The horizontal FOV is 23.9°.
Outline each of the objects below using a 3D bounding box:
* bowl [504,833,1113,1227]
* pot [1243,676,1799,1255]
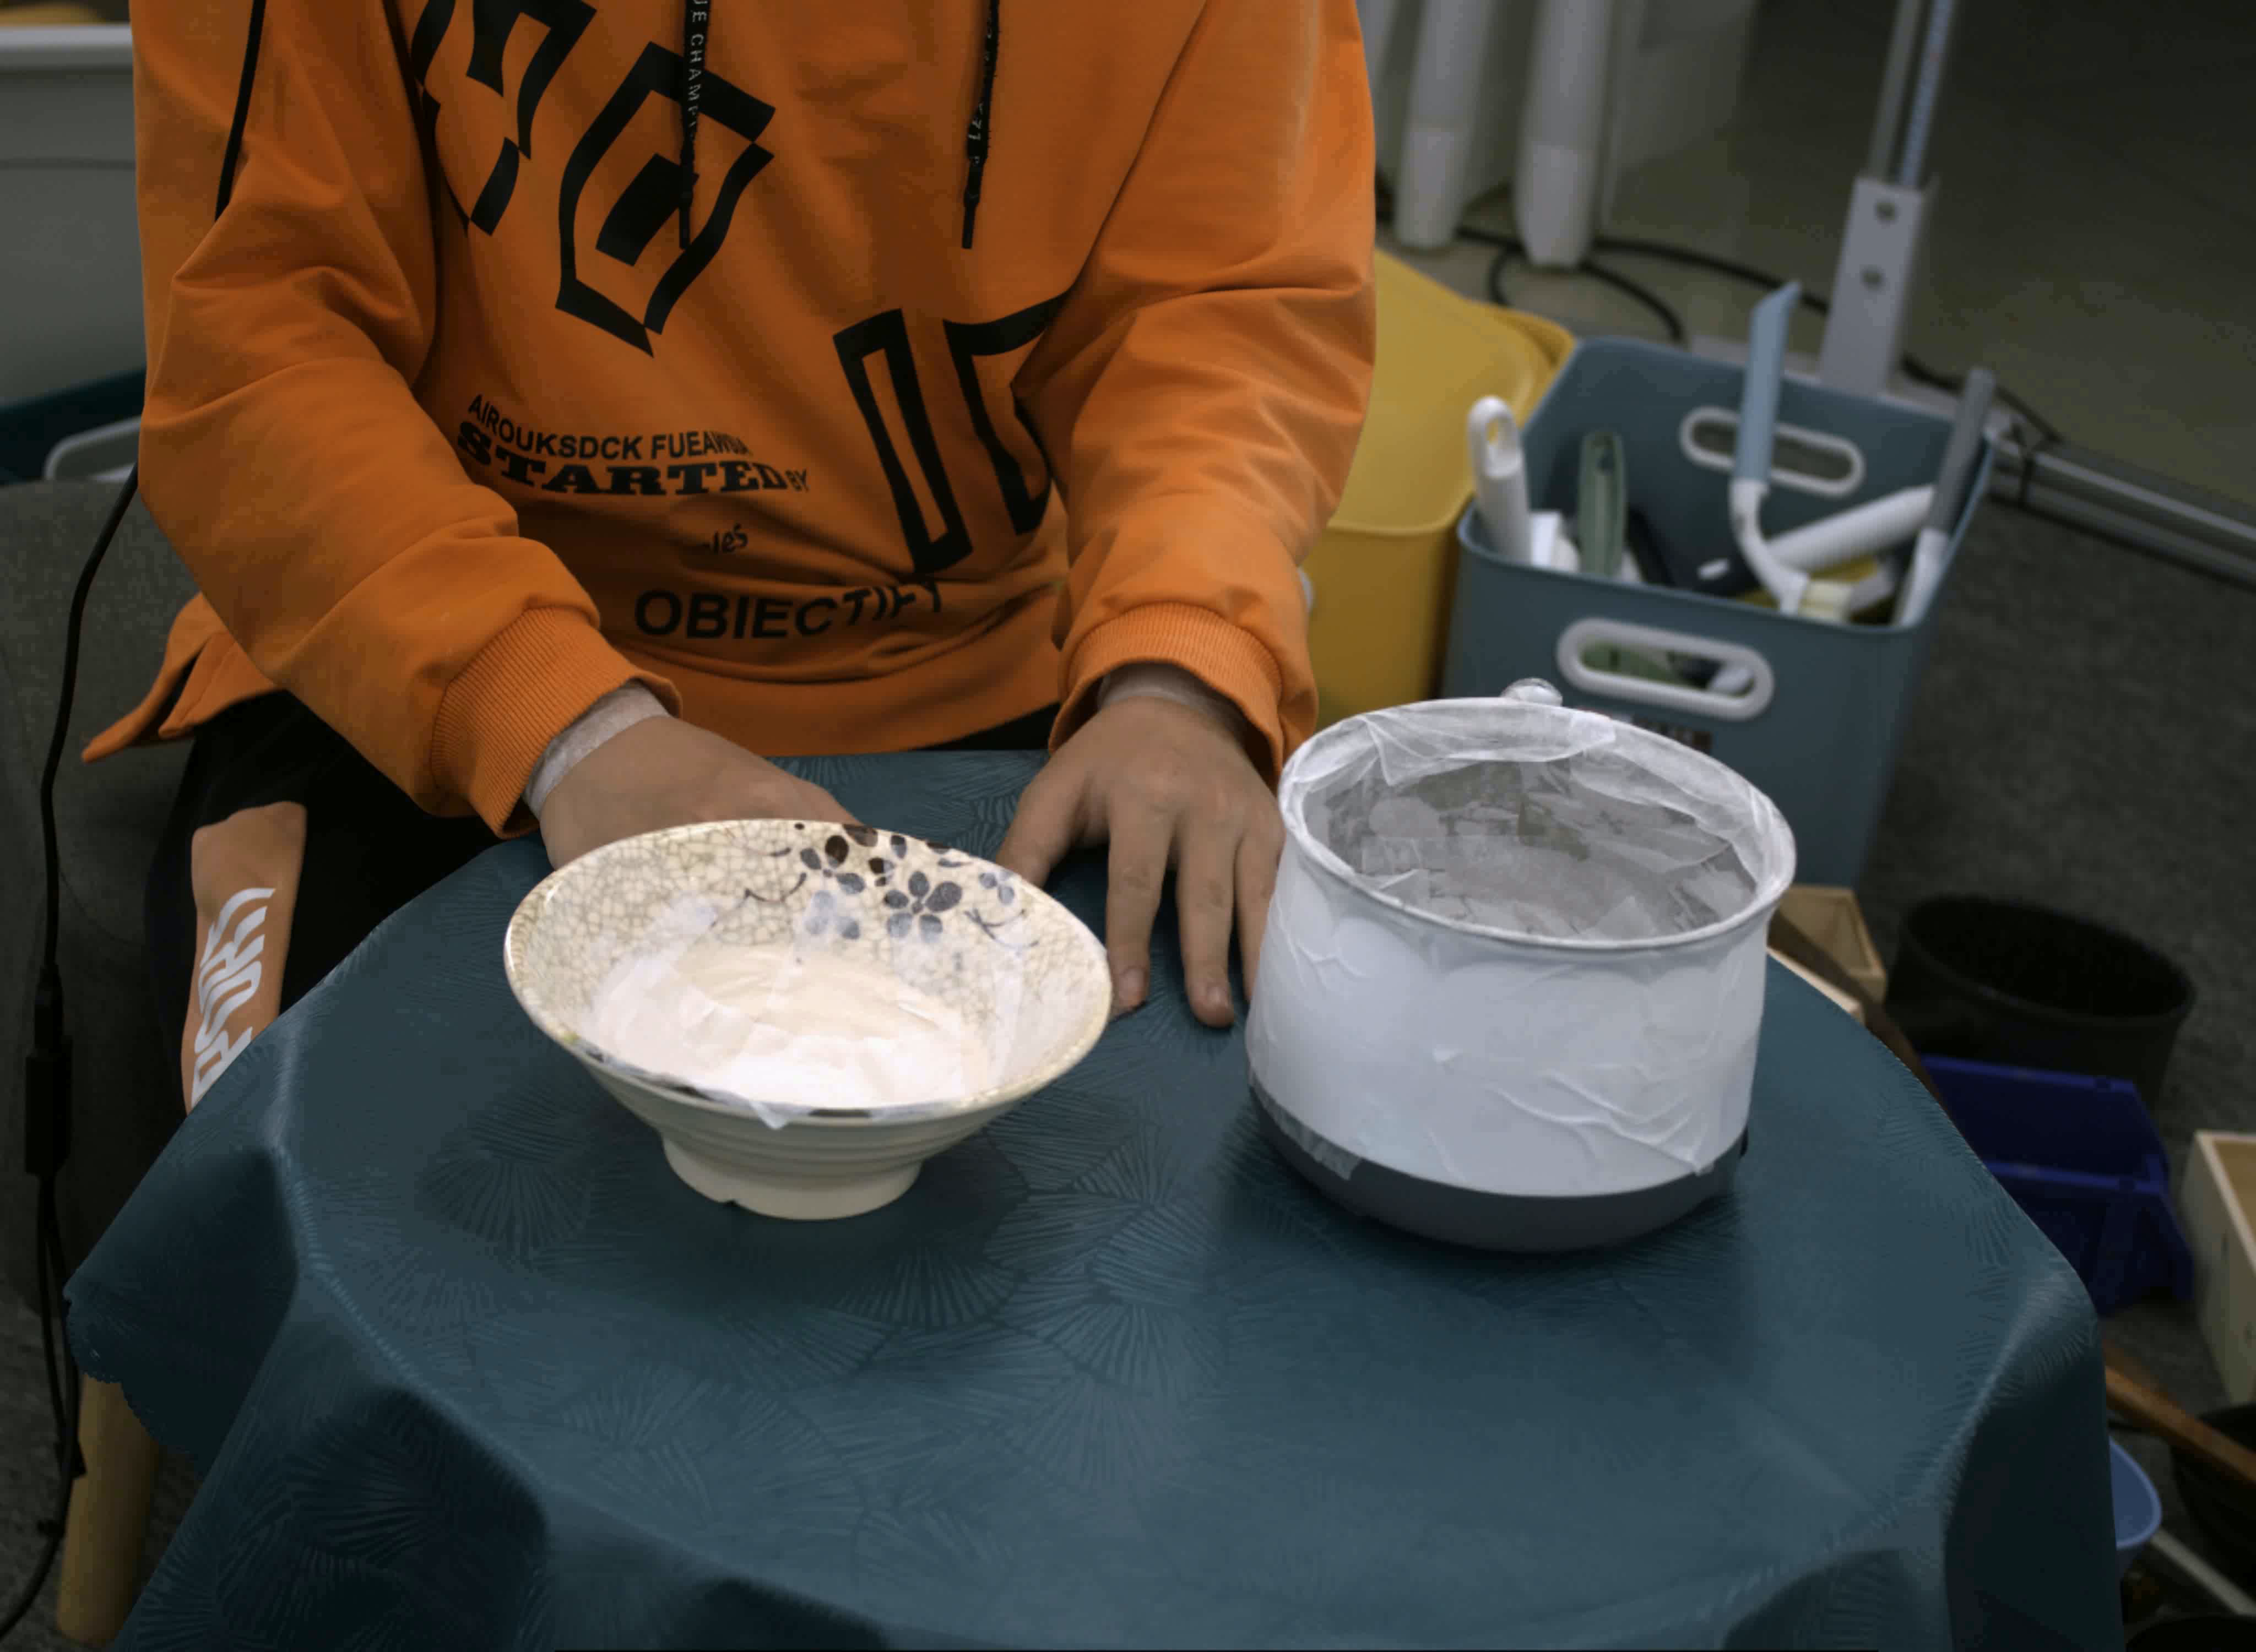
[{"bbox_3d":[-0.109,0.080,1.783,0.203,0.078,0.205,4,25,-2],"label":"bowl"},{"bbox_3d":[0.132,0.040,1.844,0.178,0.136,0.235,7,27,-1],"label":"pot"}]
